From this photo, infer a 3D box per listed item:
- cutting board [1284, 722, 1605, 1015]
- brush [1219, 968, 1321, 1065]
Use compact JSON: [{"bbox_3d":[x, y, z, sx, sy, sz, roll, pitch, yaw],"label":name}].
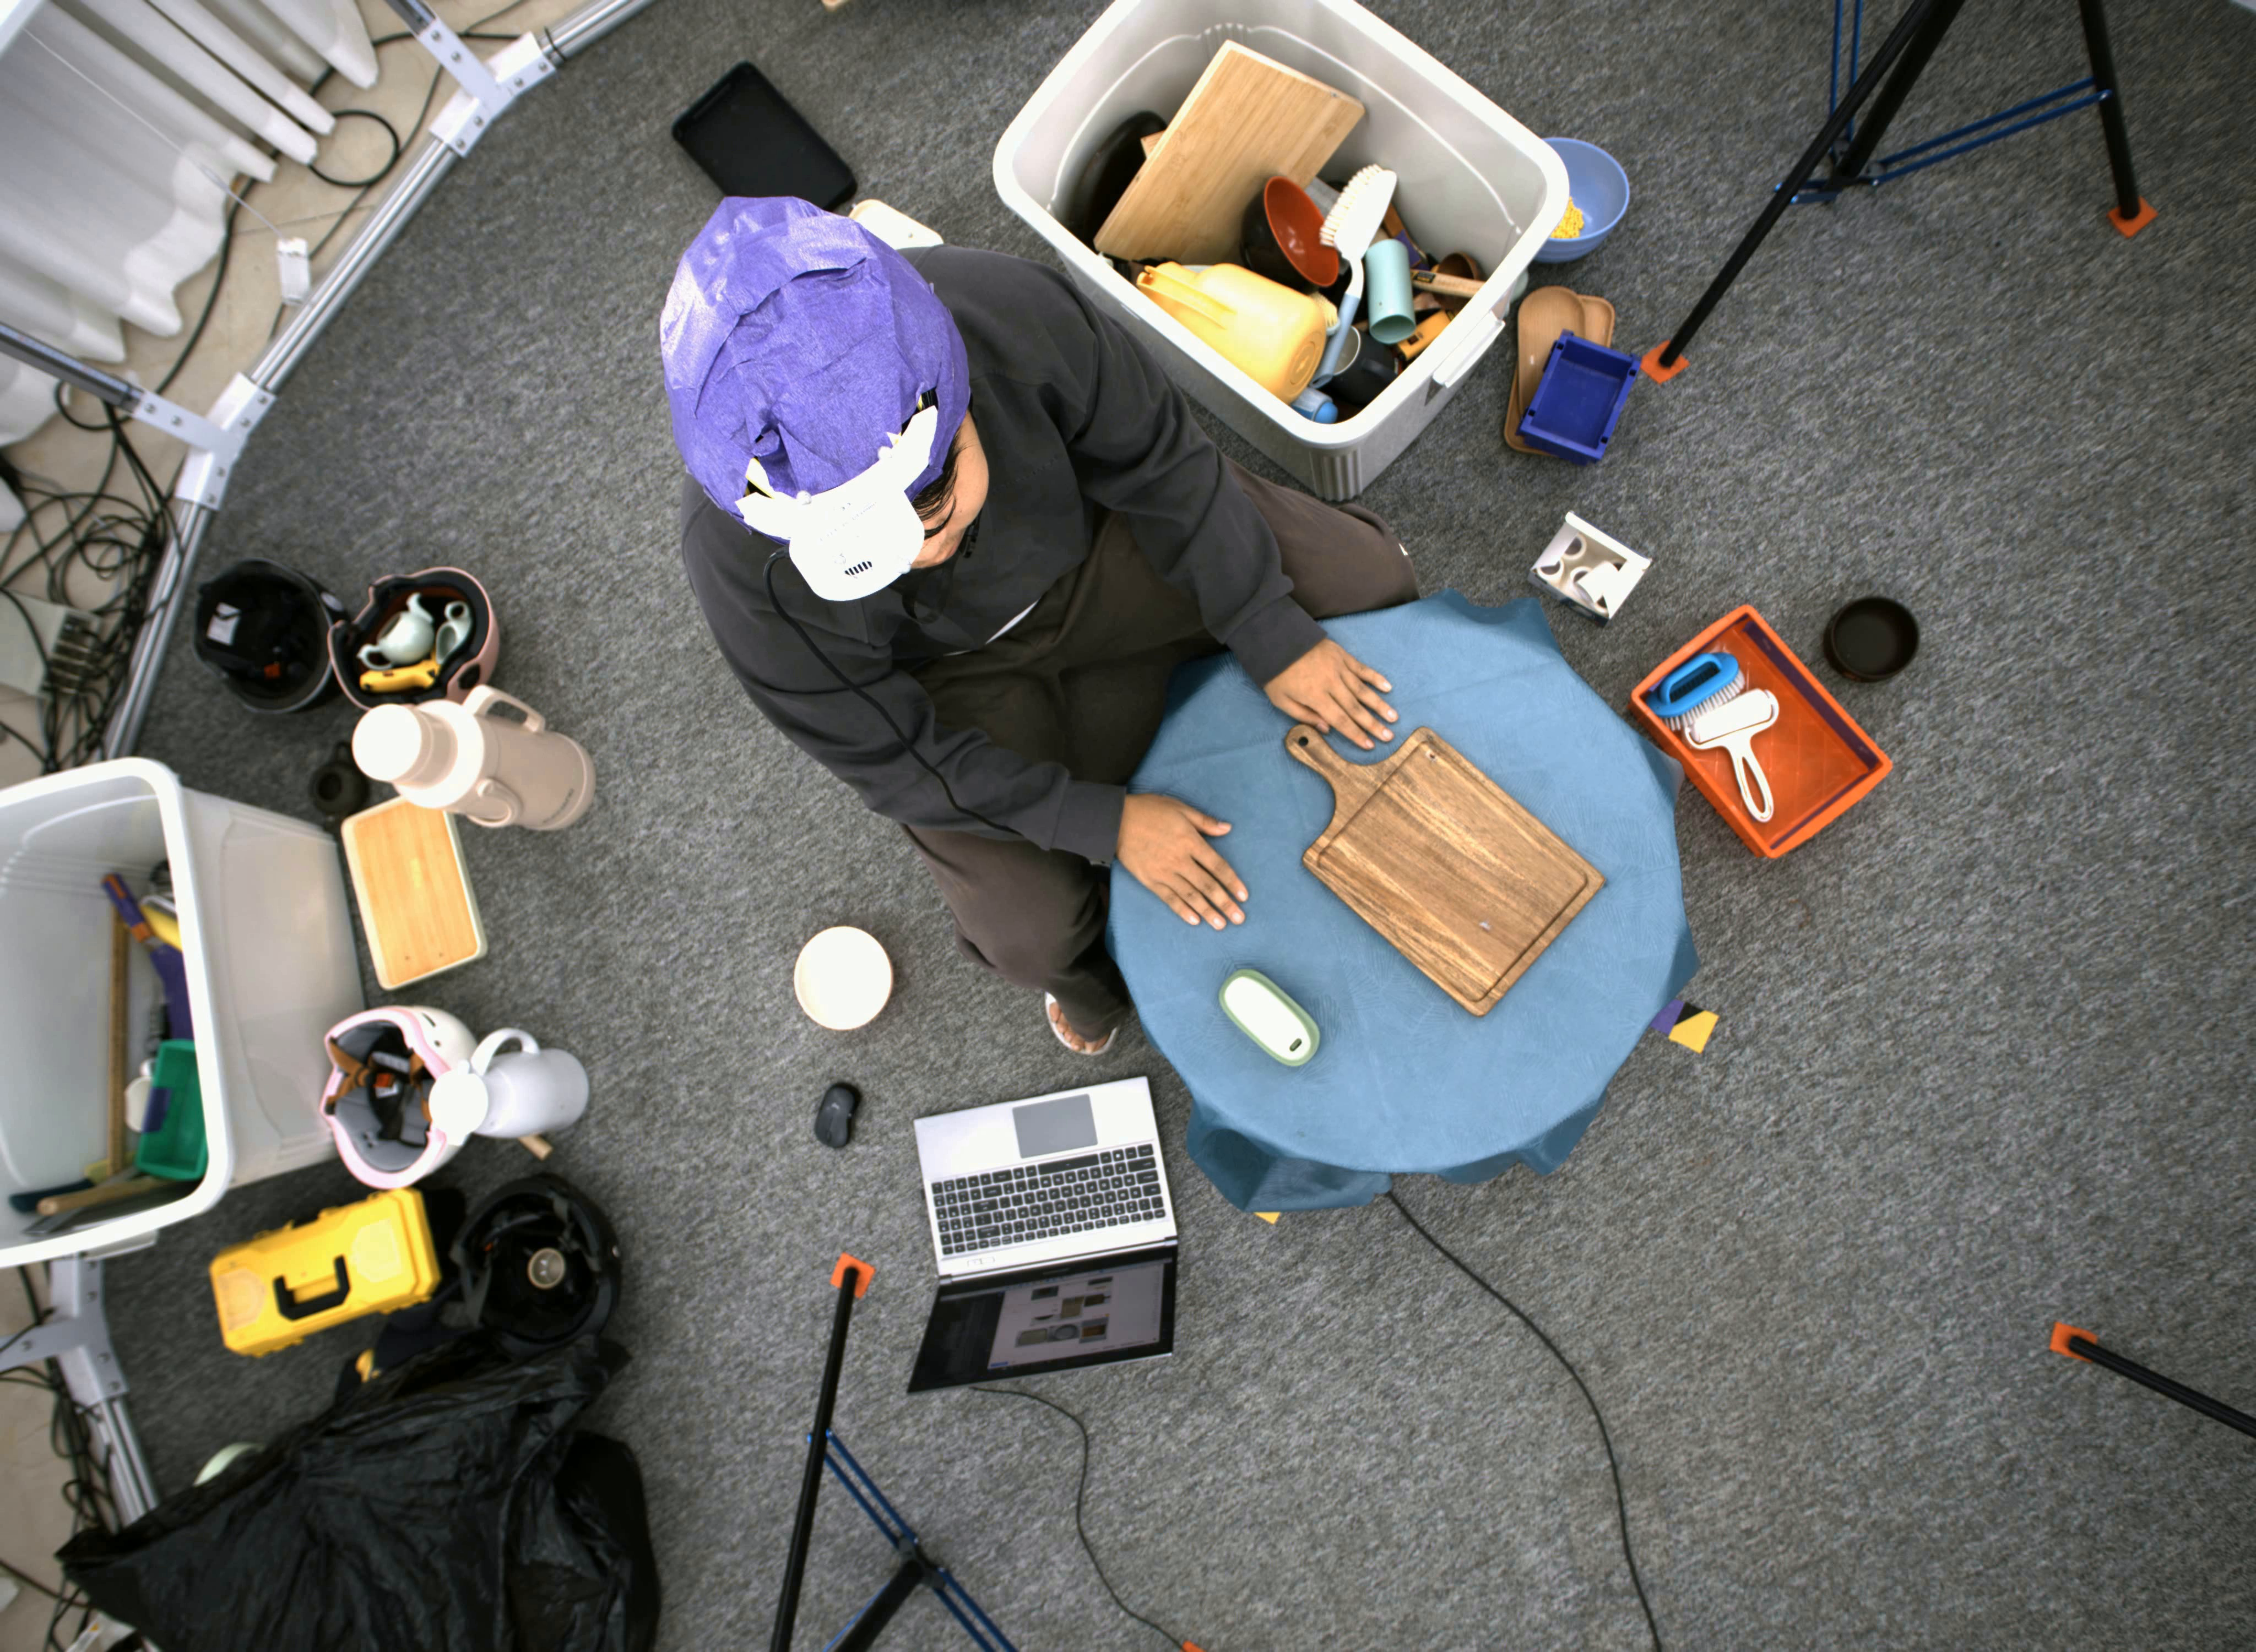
[{"bbox_3d":[0.302,0.009,1.448,0.350,0.023,0.202,43,95,11],"label":"cutting board"},{"bbox_3d":[0.149,0.200,1.450,0.122,0.076,0.060,41,93,25],"label":"brush"}]
